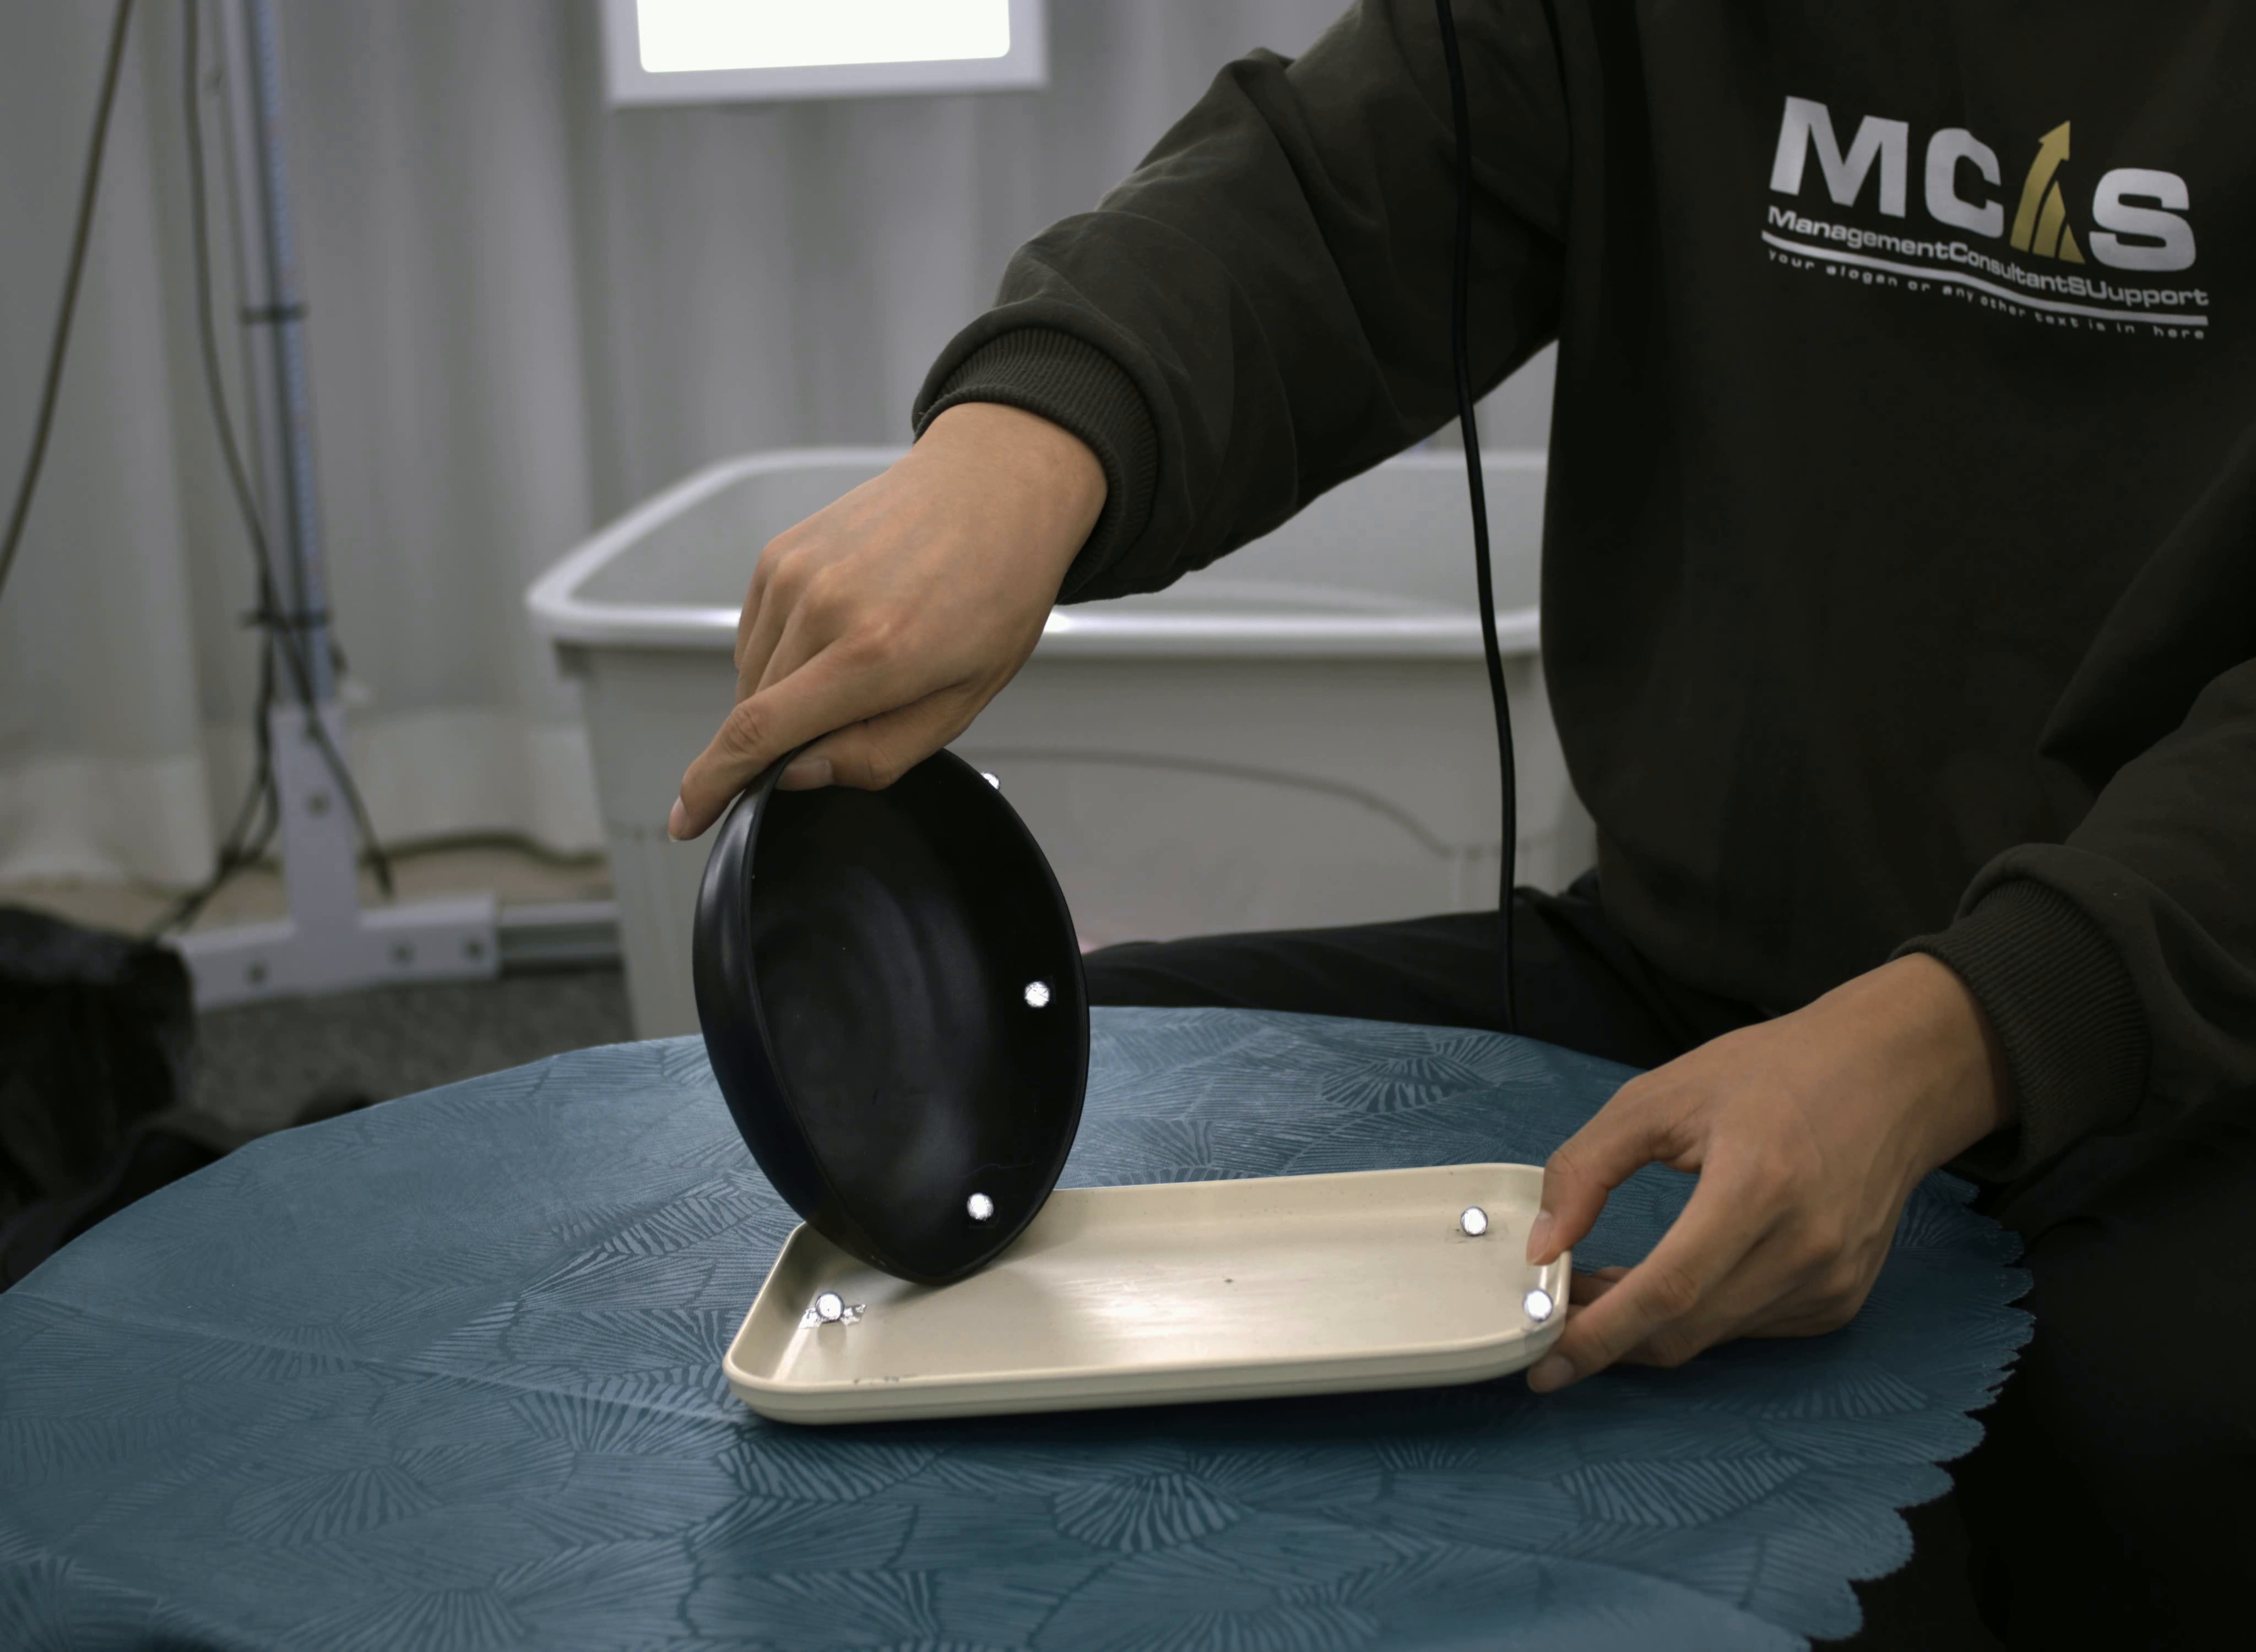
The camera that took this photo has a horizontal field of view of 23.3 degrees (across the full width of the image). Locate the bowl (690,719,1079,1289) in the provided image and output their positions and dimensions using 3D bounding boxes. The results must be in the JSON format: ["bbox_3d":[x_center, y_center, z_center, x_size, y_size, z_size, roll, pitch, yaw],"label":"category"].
[{"bbox_3d":[-0.083,0.056,1.646,0.066,0.171,0.137,-16,-2,44],"label":"bowl"}]

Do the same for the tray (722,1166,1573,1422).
[{"bbox_3d":[0.009,0.136,1.579,0.239,0.017,0.172,-4,12,7],"label":"tray"}]
